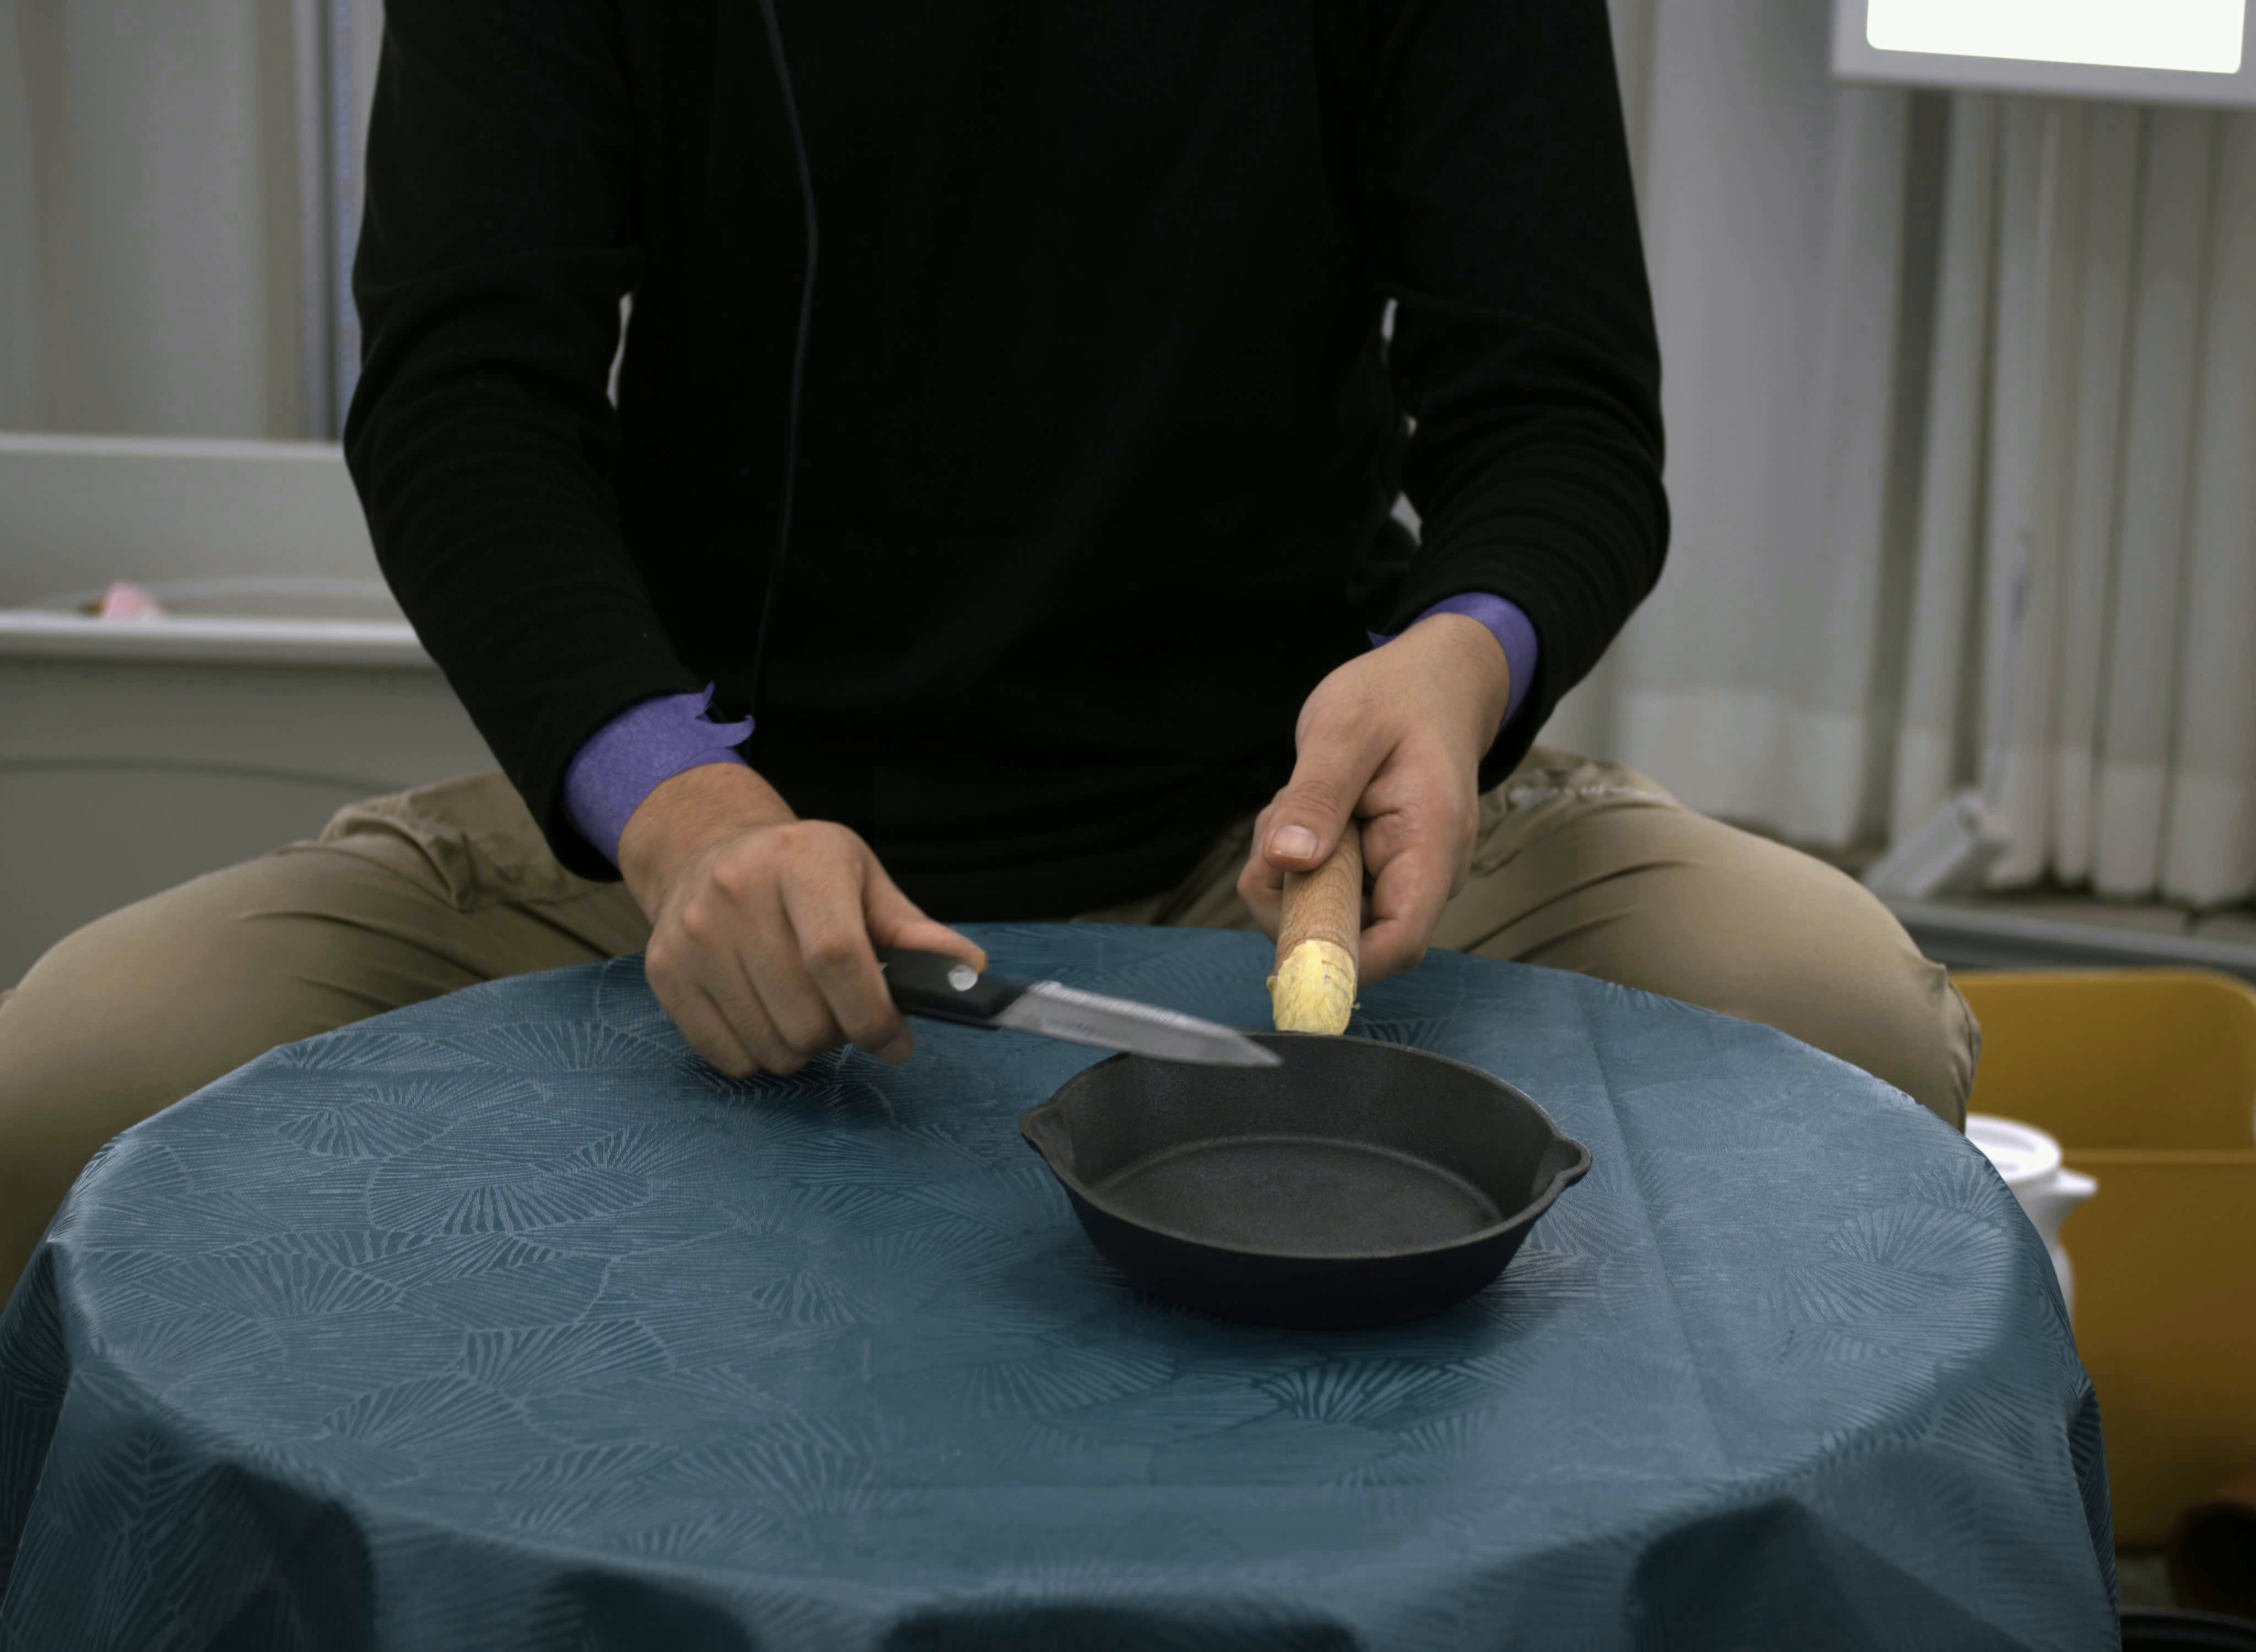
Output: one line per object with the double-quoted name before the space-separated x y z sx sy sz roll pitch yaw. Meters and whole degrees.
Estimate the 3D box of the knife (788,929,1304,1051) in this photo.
"knife" -0.030 0.054 1.638 0.235 0.016 0.024 8 41 47

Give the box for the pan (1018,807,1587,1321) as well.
"pan" 0.059 0.070 1.634 0.168 0.050 0.322 5 21 4
